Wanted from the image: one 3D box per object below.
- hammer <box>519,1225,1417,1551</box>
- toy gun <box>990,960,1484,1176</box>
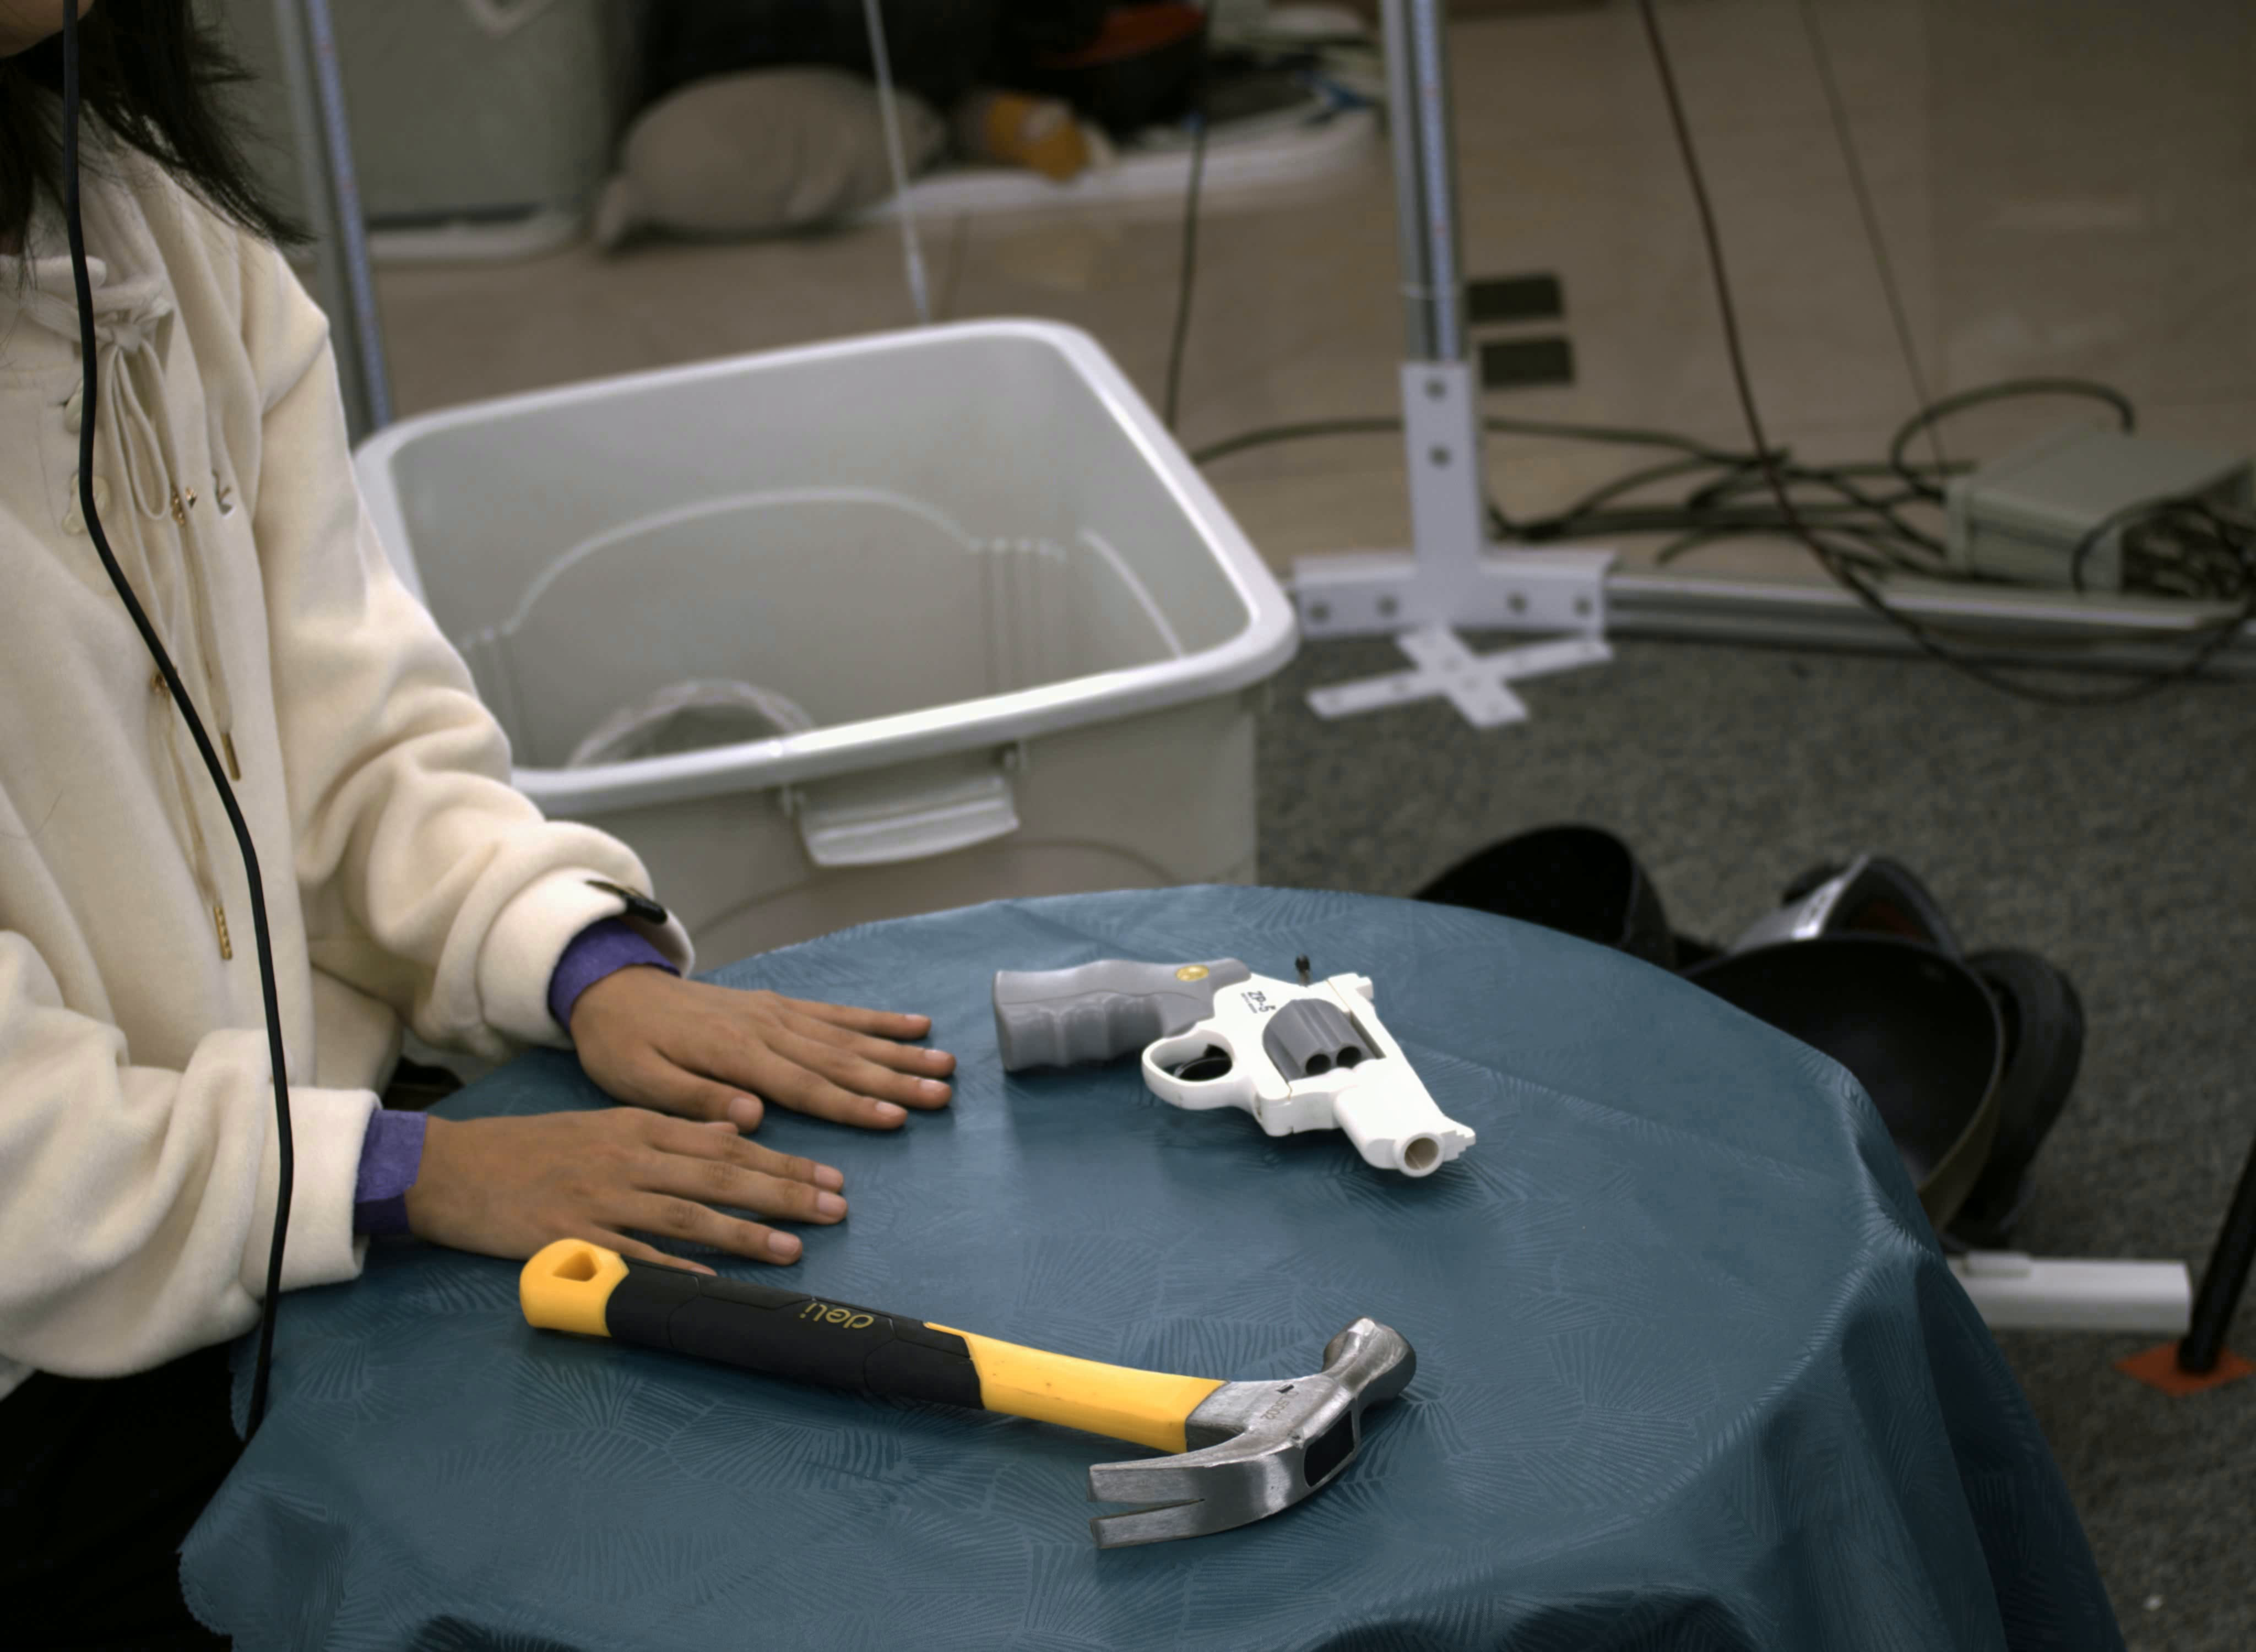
[{"bbox_3d":[-0.074,0.187,2.020,0.337,0.033,0.130,10,32,30],"label":"hammer"},{"bbox_3d":[0.037,0.093,2.192,0.141,0.039,0.206,-12,26,-15],"label":"toy gun"}]
